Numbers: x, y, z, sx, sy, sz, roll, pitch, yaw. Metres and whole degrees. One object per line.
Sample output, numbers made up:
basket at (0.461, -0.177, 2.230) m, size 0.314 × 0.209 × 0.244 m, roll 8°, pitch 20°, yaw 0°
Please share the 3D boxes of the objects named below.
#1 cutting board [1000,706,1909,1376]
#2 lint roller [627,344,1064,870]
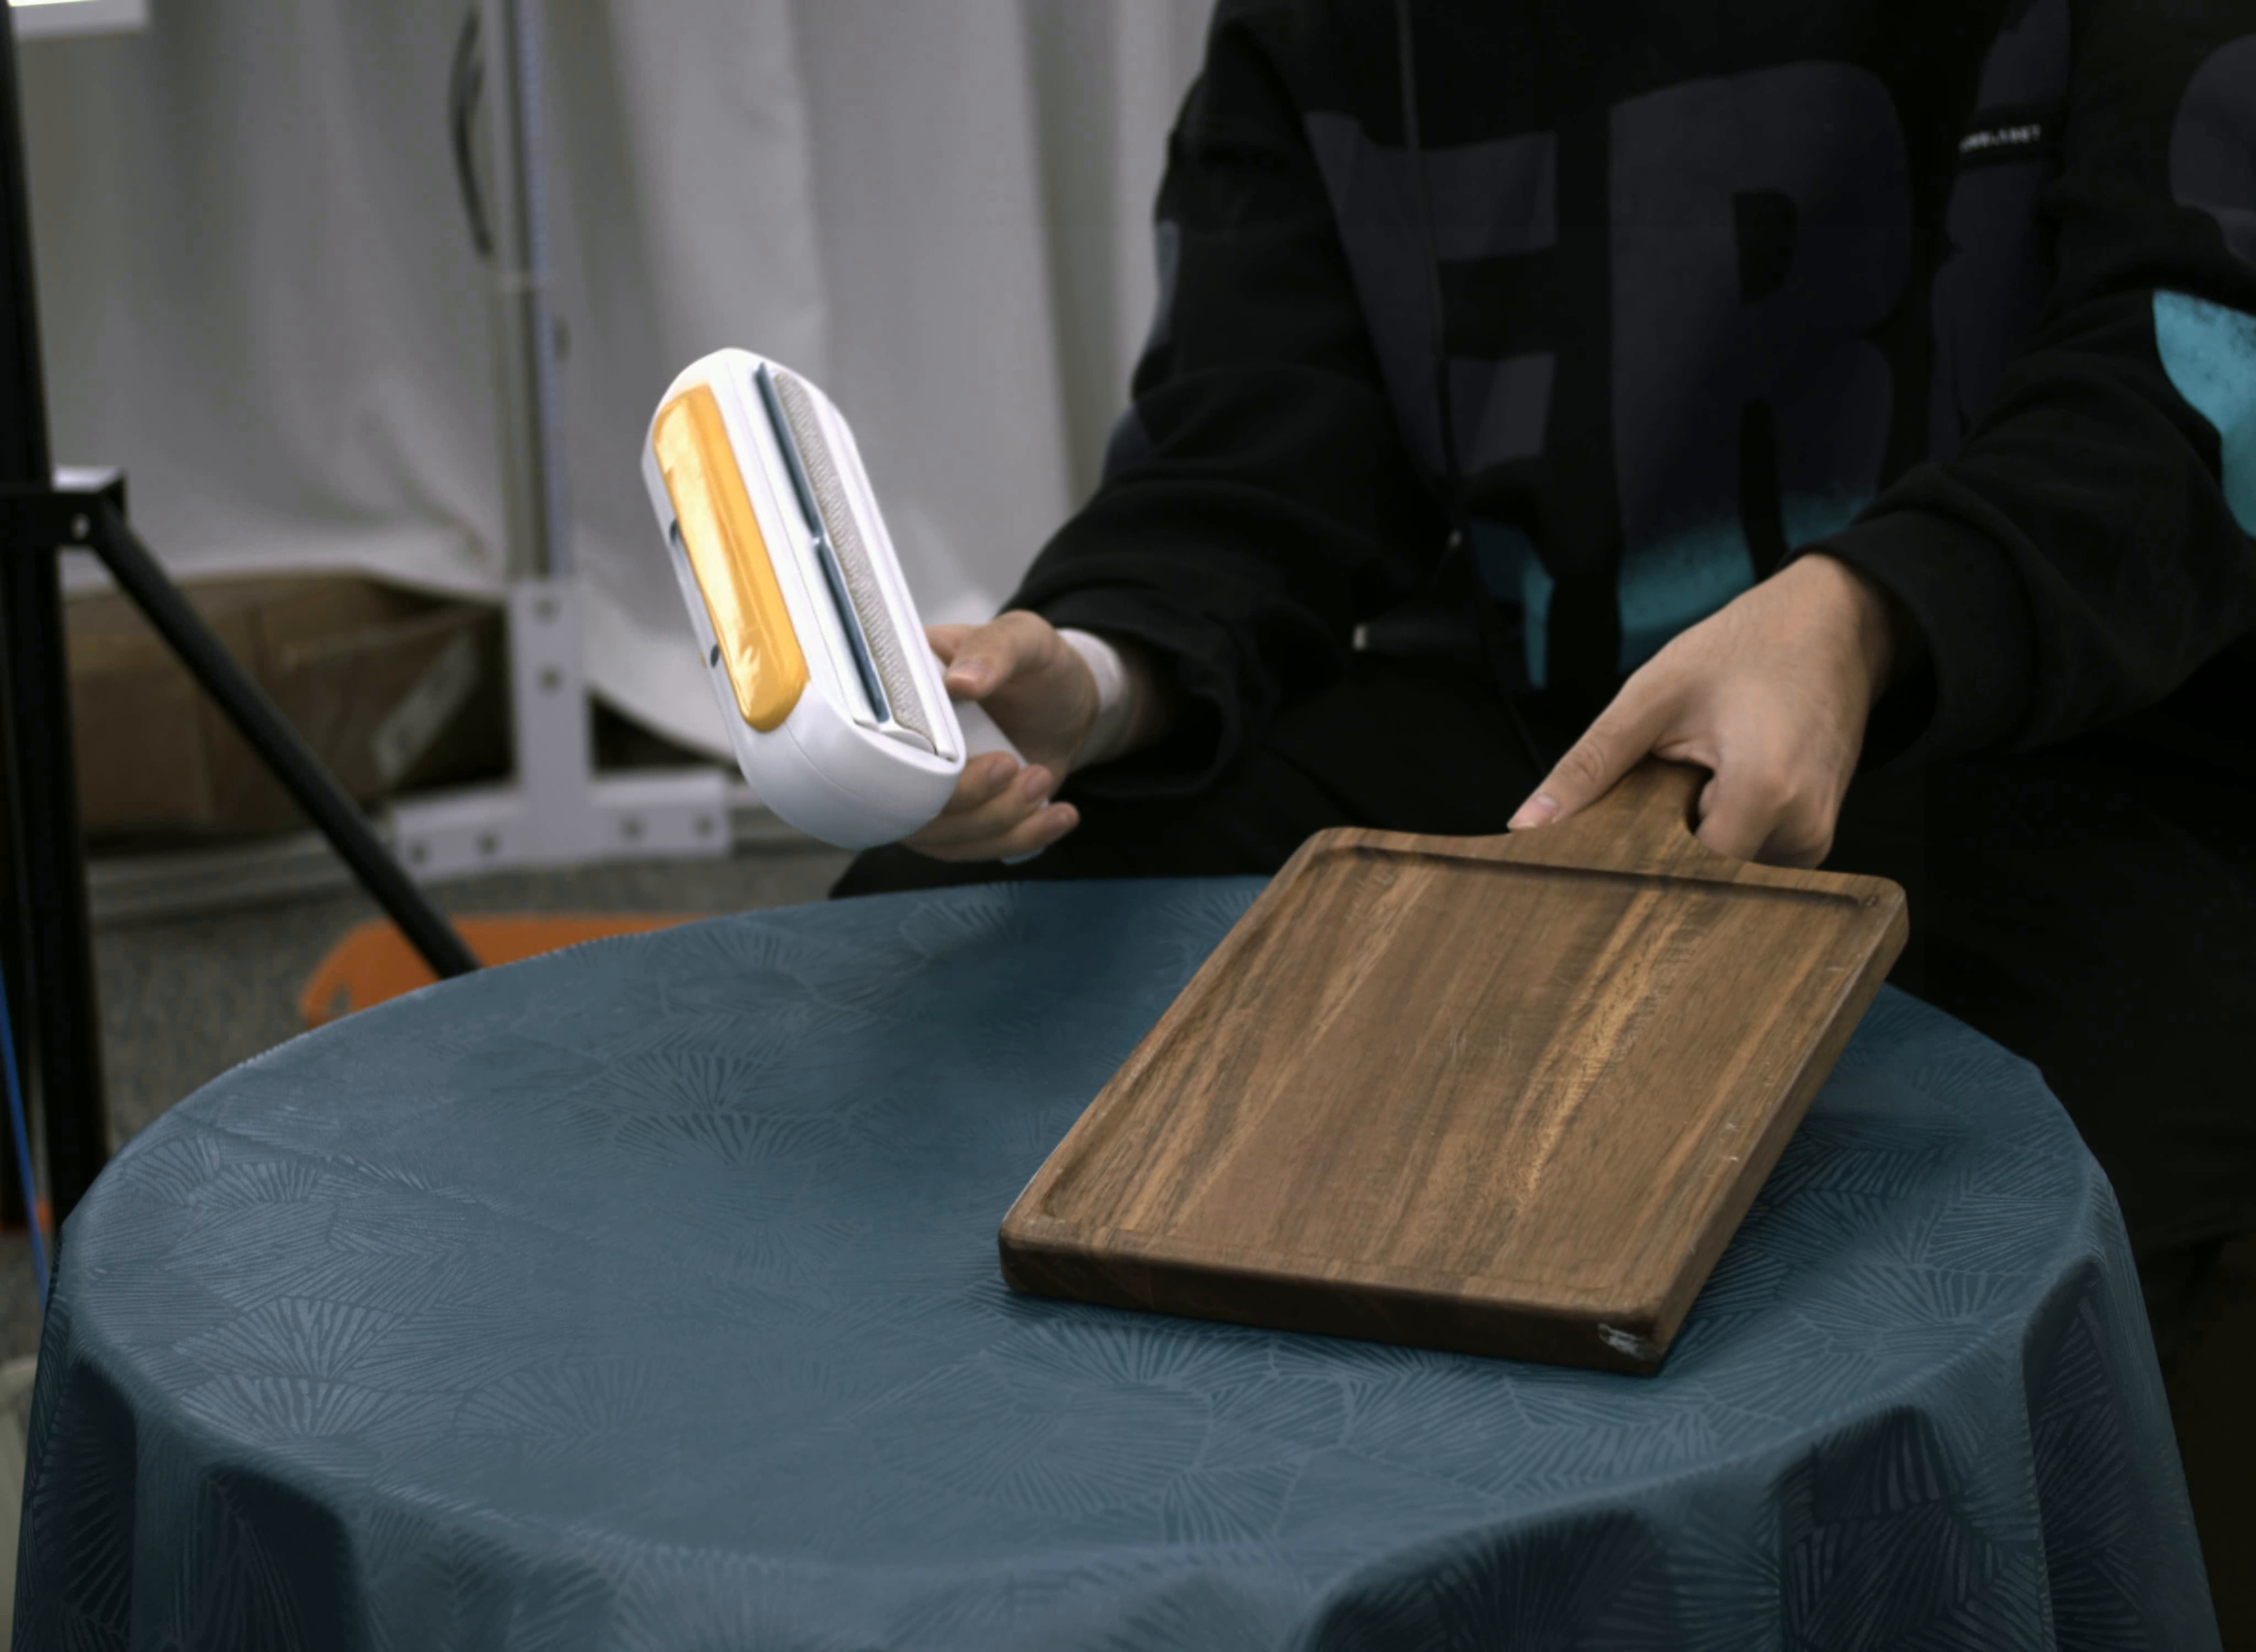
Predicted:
cutting board at (0.118, 0.052, 1.570) m, size 0.204 × 0.023 × 0.349 m, roll 4°, pitch 29°, yaw 25°
lint roller at (-0.075, -0.048, 1.729) m, size 0.187 × 0.074 × 0.196 m, roll 33°, pitch 22°, yaw -40°
